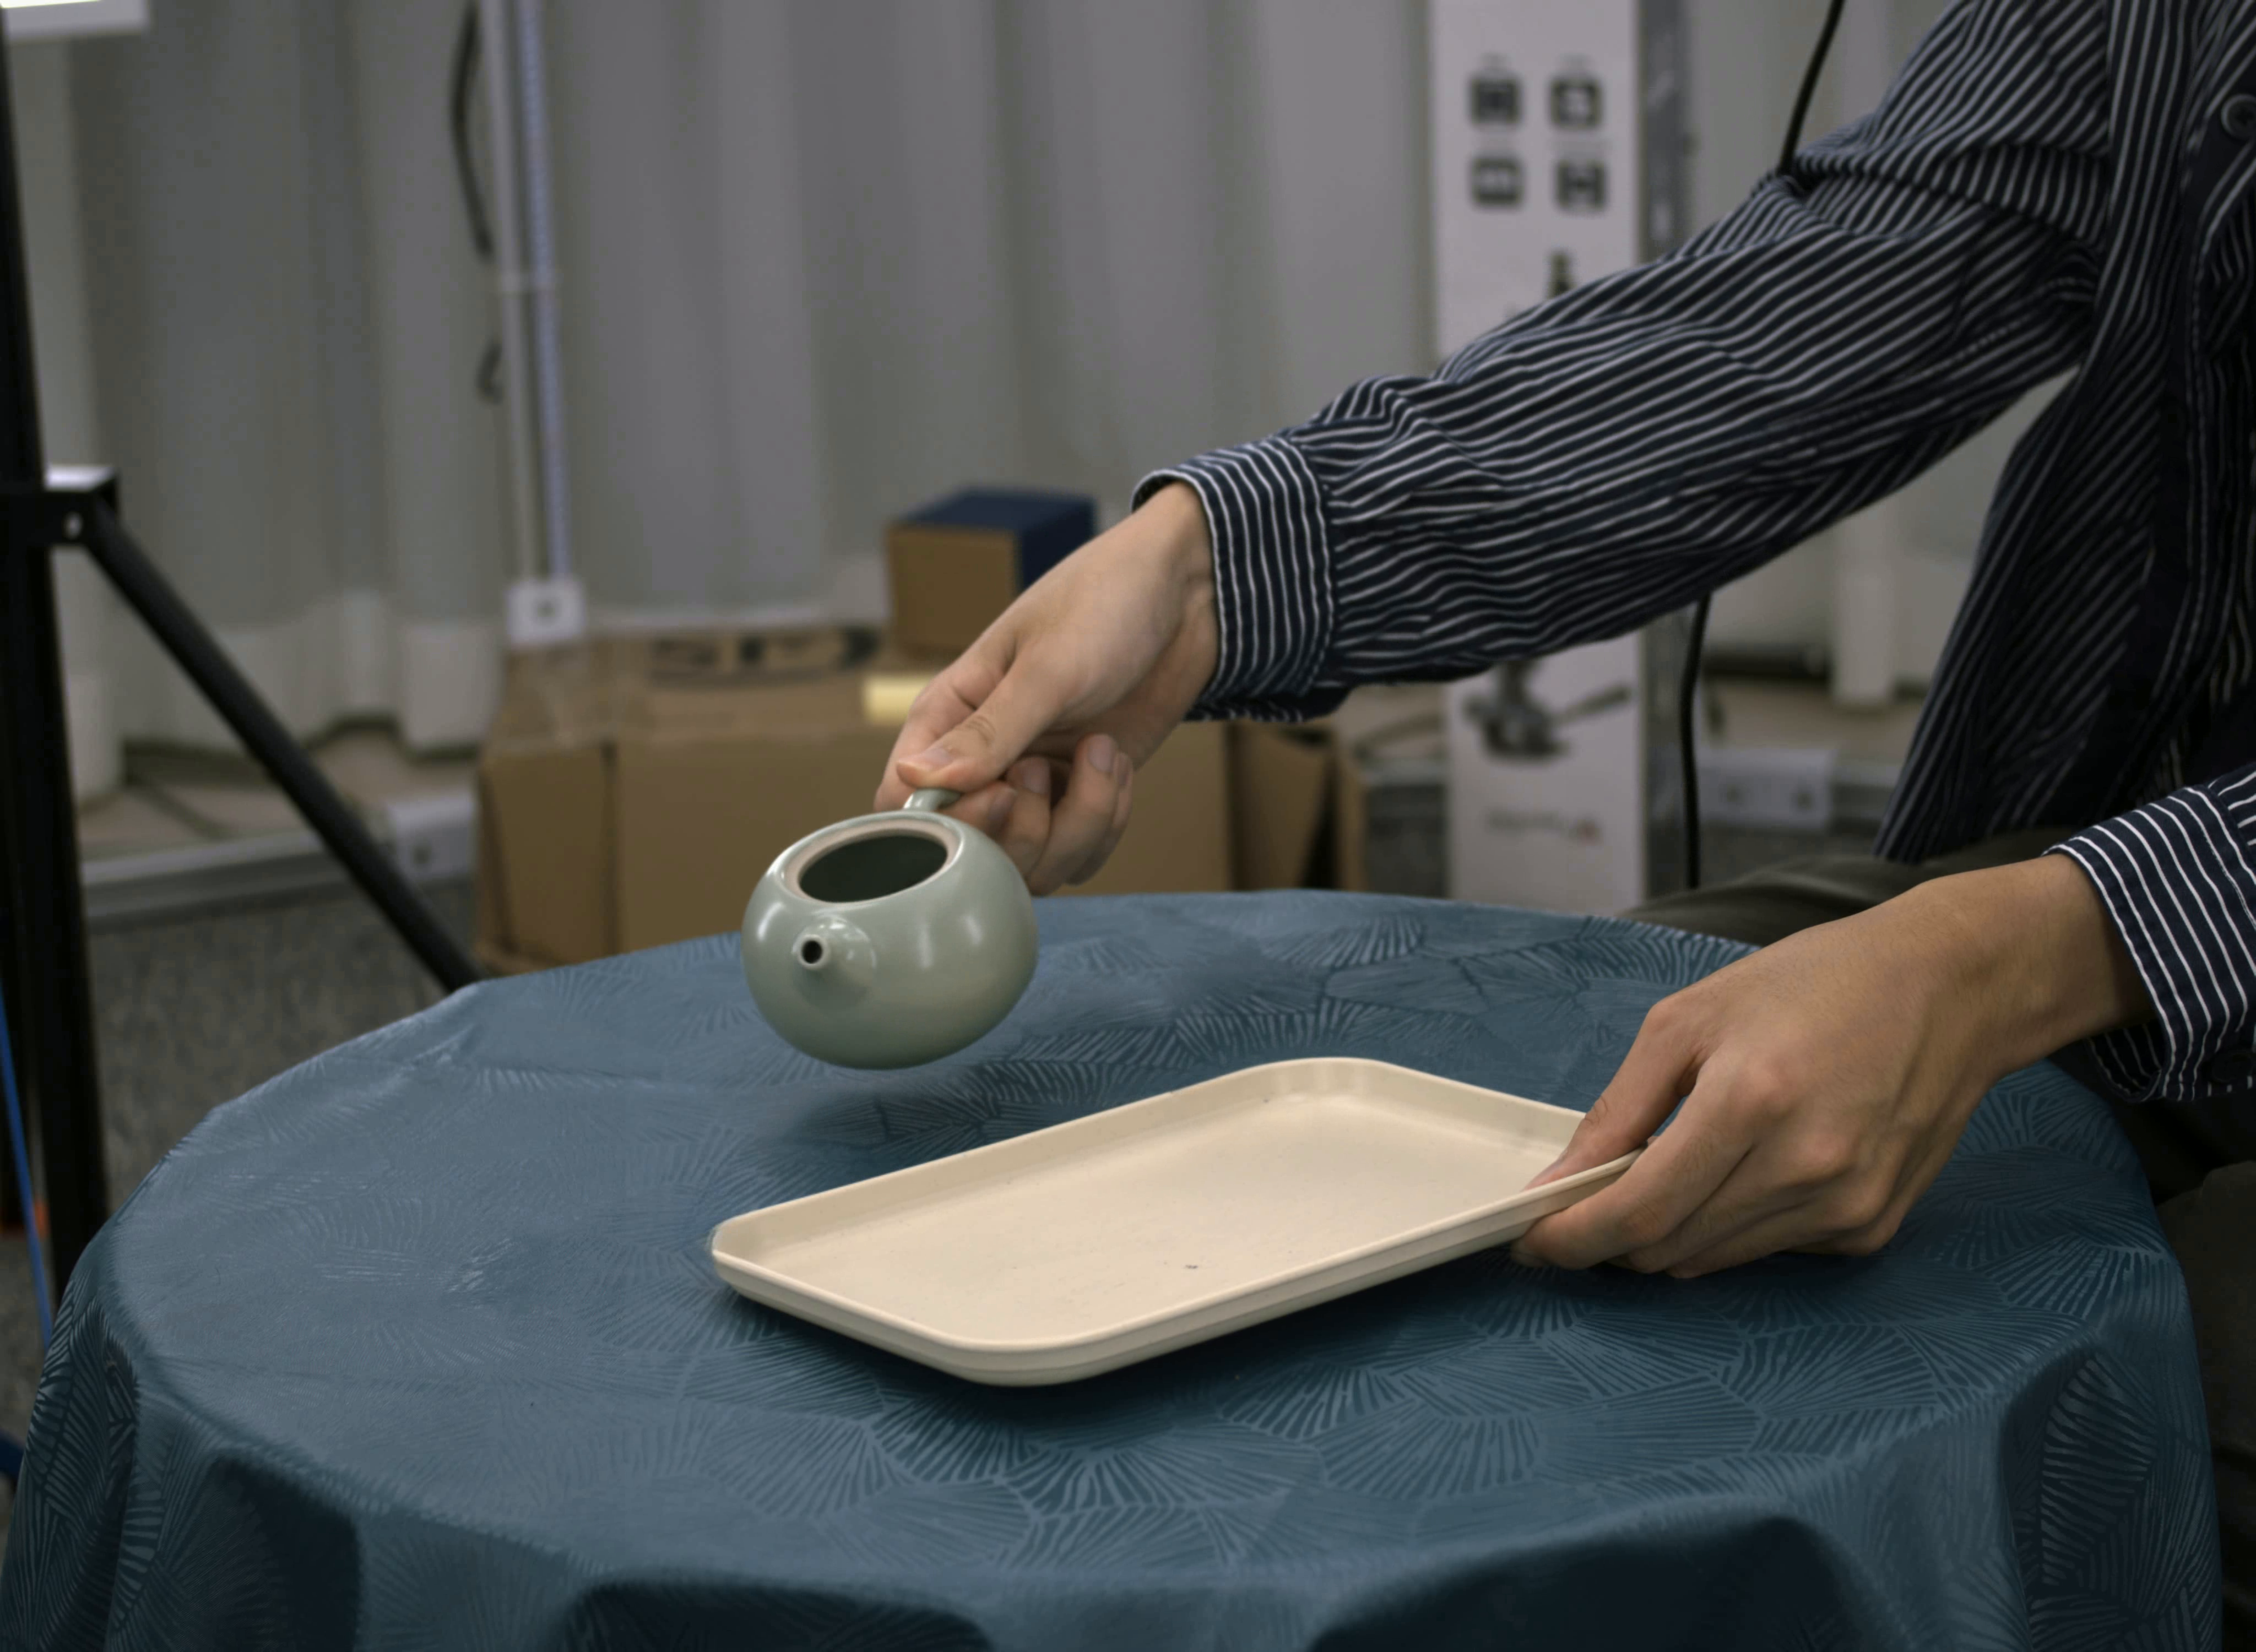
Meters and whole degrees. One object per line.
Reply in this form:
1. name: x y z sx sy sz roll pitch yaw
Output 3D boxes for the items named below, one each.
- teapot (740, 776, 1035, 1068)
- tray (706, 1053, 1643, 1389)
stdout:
1. teapot: -0.070 0.030 1.643 0.093 0.060 0.127 -1 28 28
2. tray: 0.015 0.110 1.500 0.234 0.017 0.175 -14 16 -33
